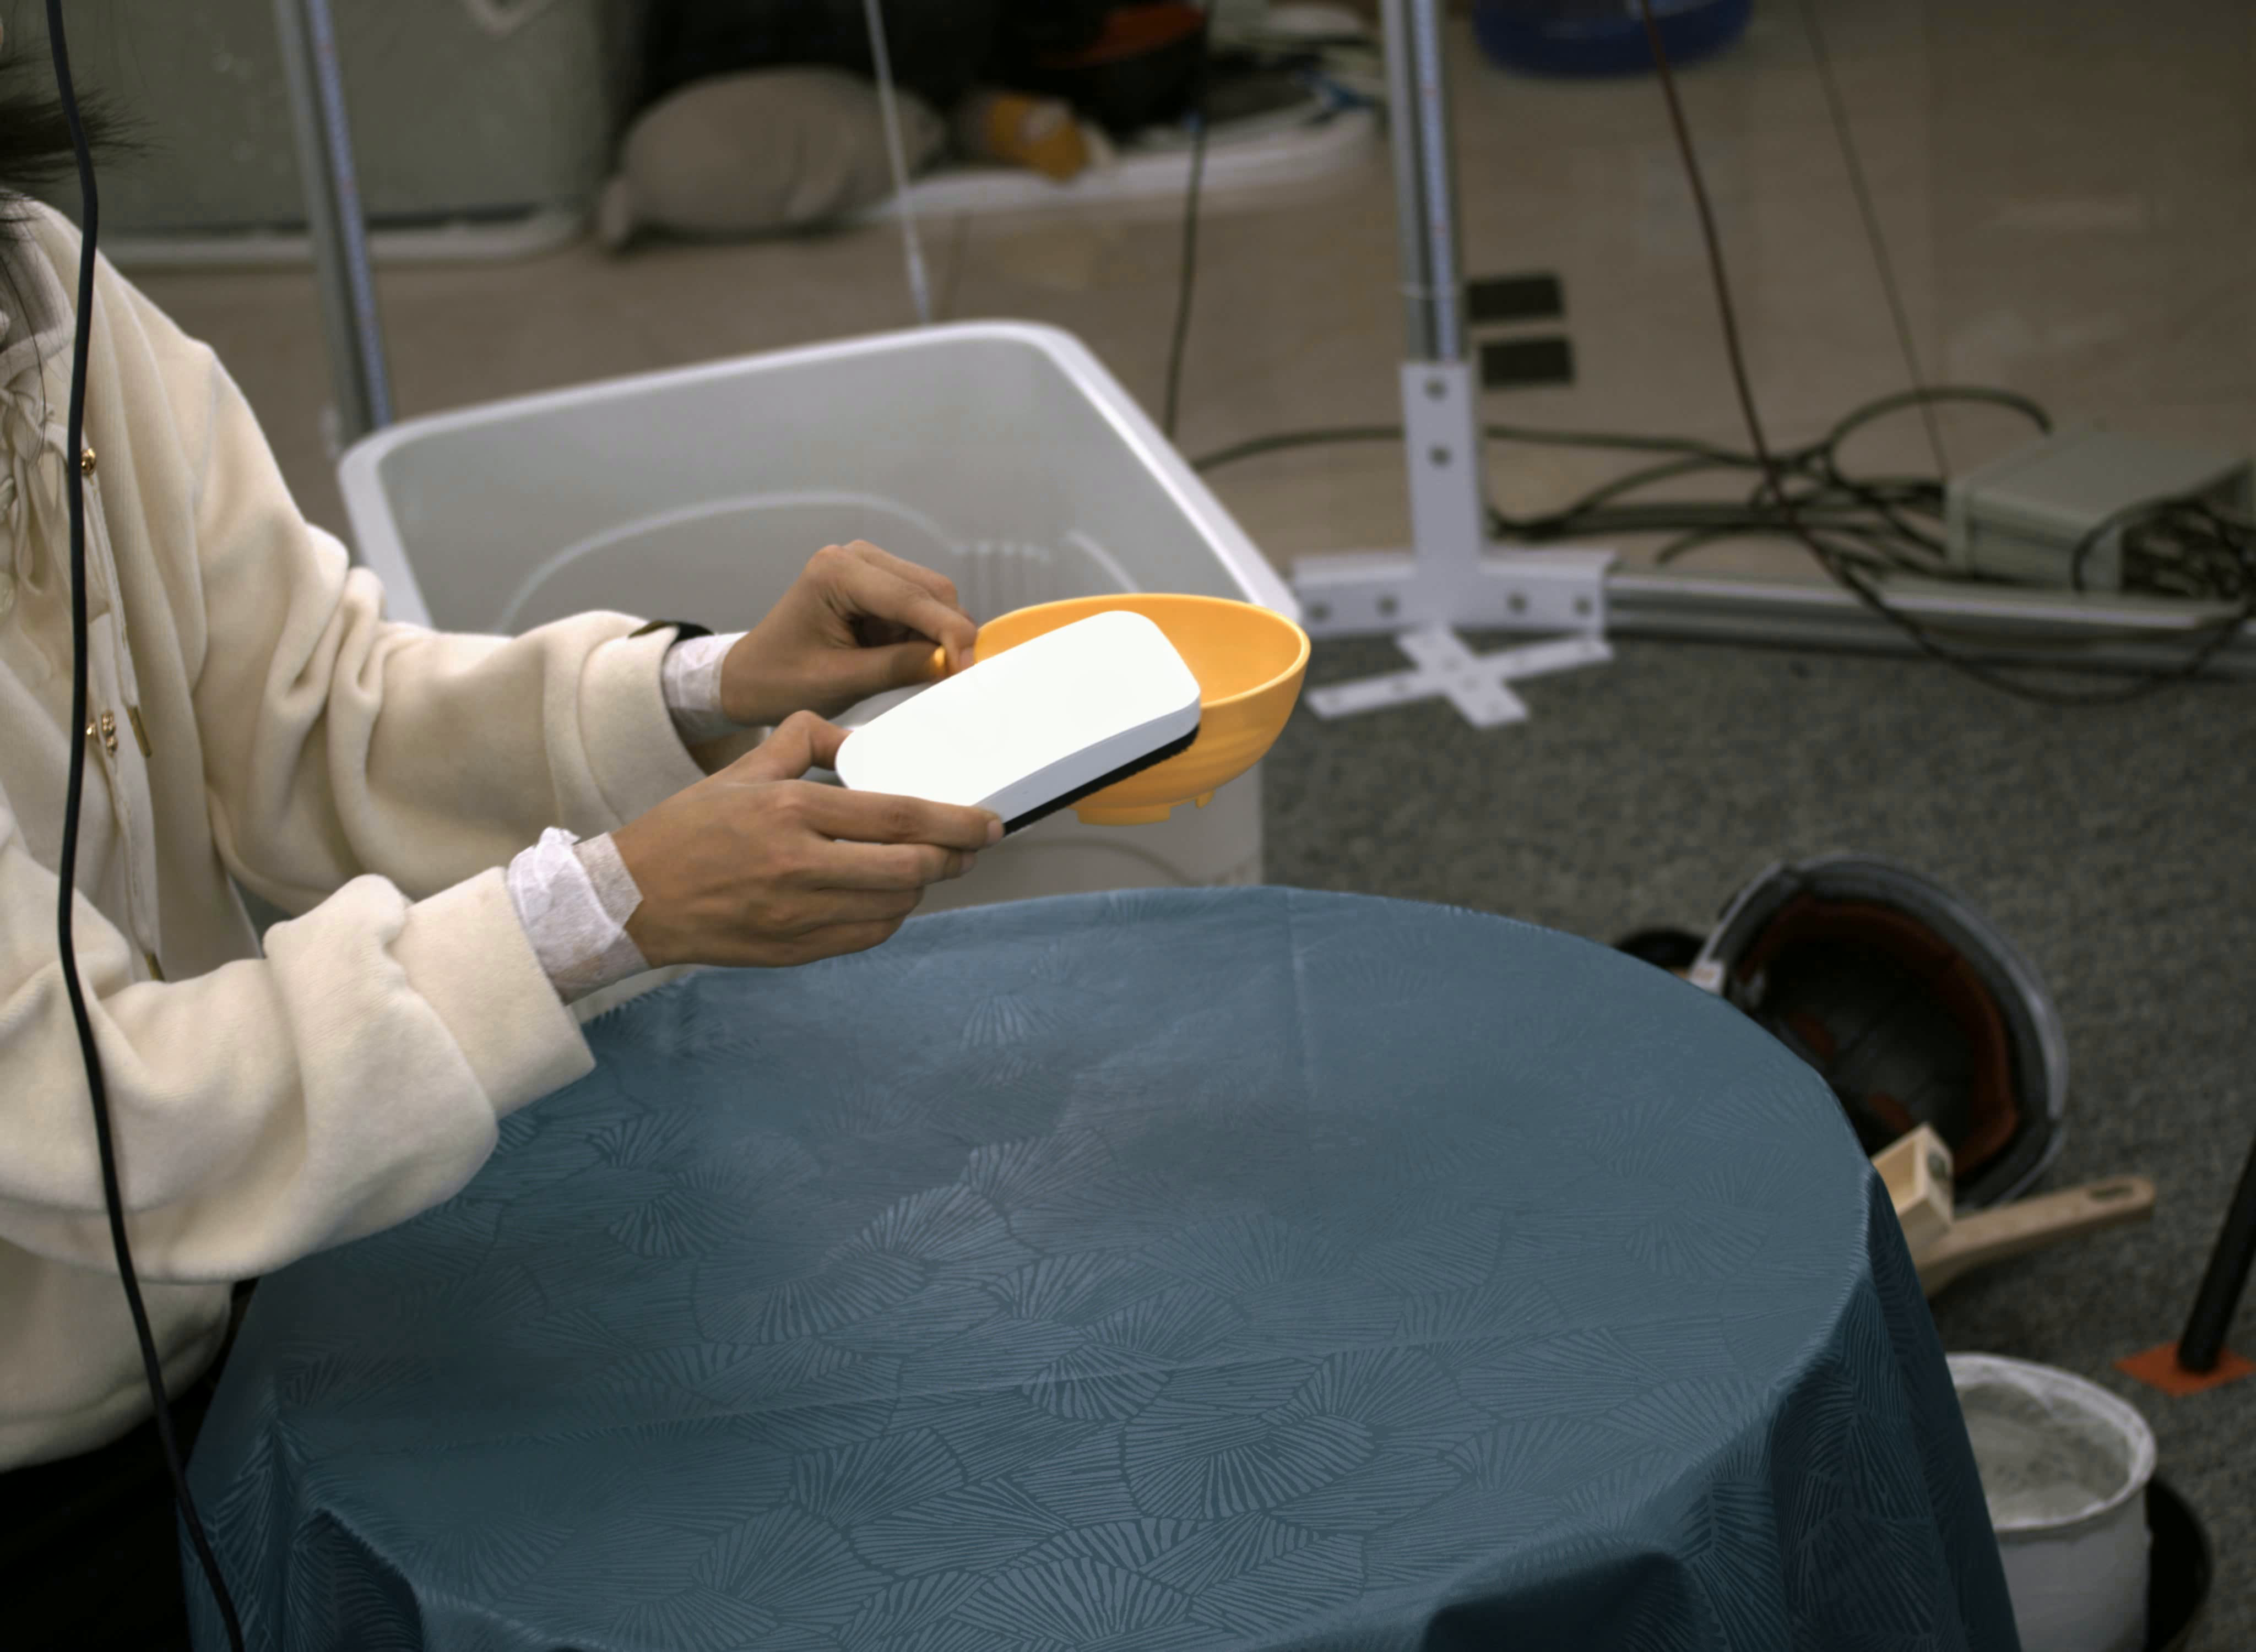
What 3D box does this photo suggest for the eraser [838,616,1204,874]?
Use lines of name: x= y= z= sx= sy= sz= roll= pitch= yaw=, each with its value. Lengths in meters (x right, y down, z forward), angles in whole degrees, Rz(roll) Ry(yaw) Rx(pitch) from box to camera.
eraser: x=-0.039 y=-0.032 z=2.048 sx=0.131 sy=0.035 sz=0.062 roll=-25 pitch=48 yaw=-13

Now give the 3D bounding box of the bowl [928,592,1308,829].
bowl: x=-0.004 y=-0.038 z=2.149 sx=0.145 sy=0.061 sz=0.143 roll=-1 pitch=21 yaw=0
